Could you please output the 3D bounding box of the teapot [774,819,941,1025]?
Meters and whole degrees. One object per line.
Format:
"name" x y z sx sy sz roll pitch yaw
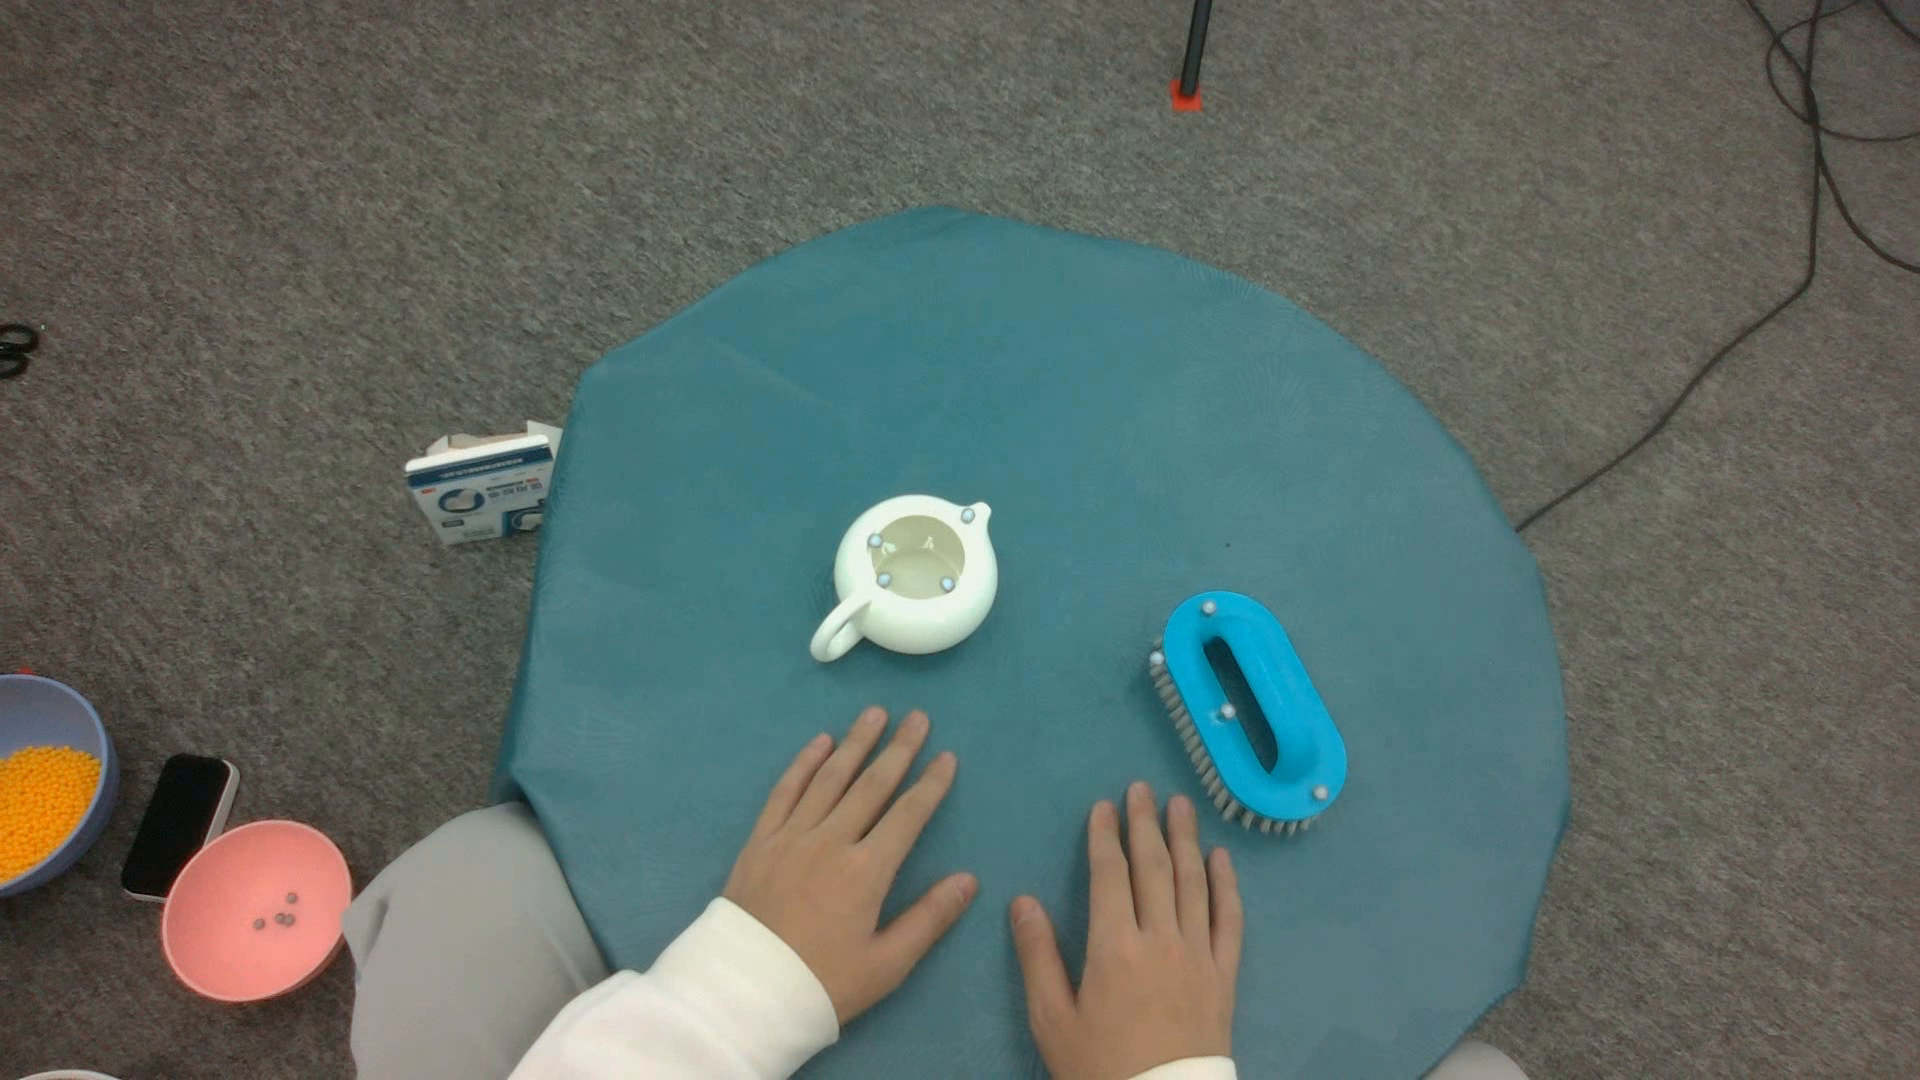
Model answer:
"teapot" -0.063 0.216 0.776 0.093 0.056 0.128 25 56 17

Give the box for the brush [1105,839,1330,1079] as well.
"brush" 0.144 0.219 0.757 0.084 0.063 0.142 -26 53 -24
